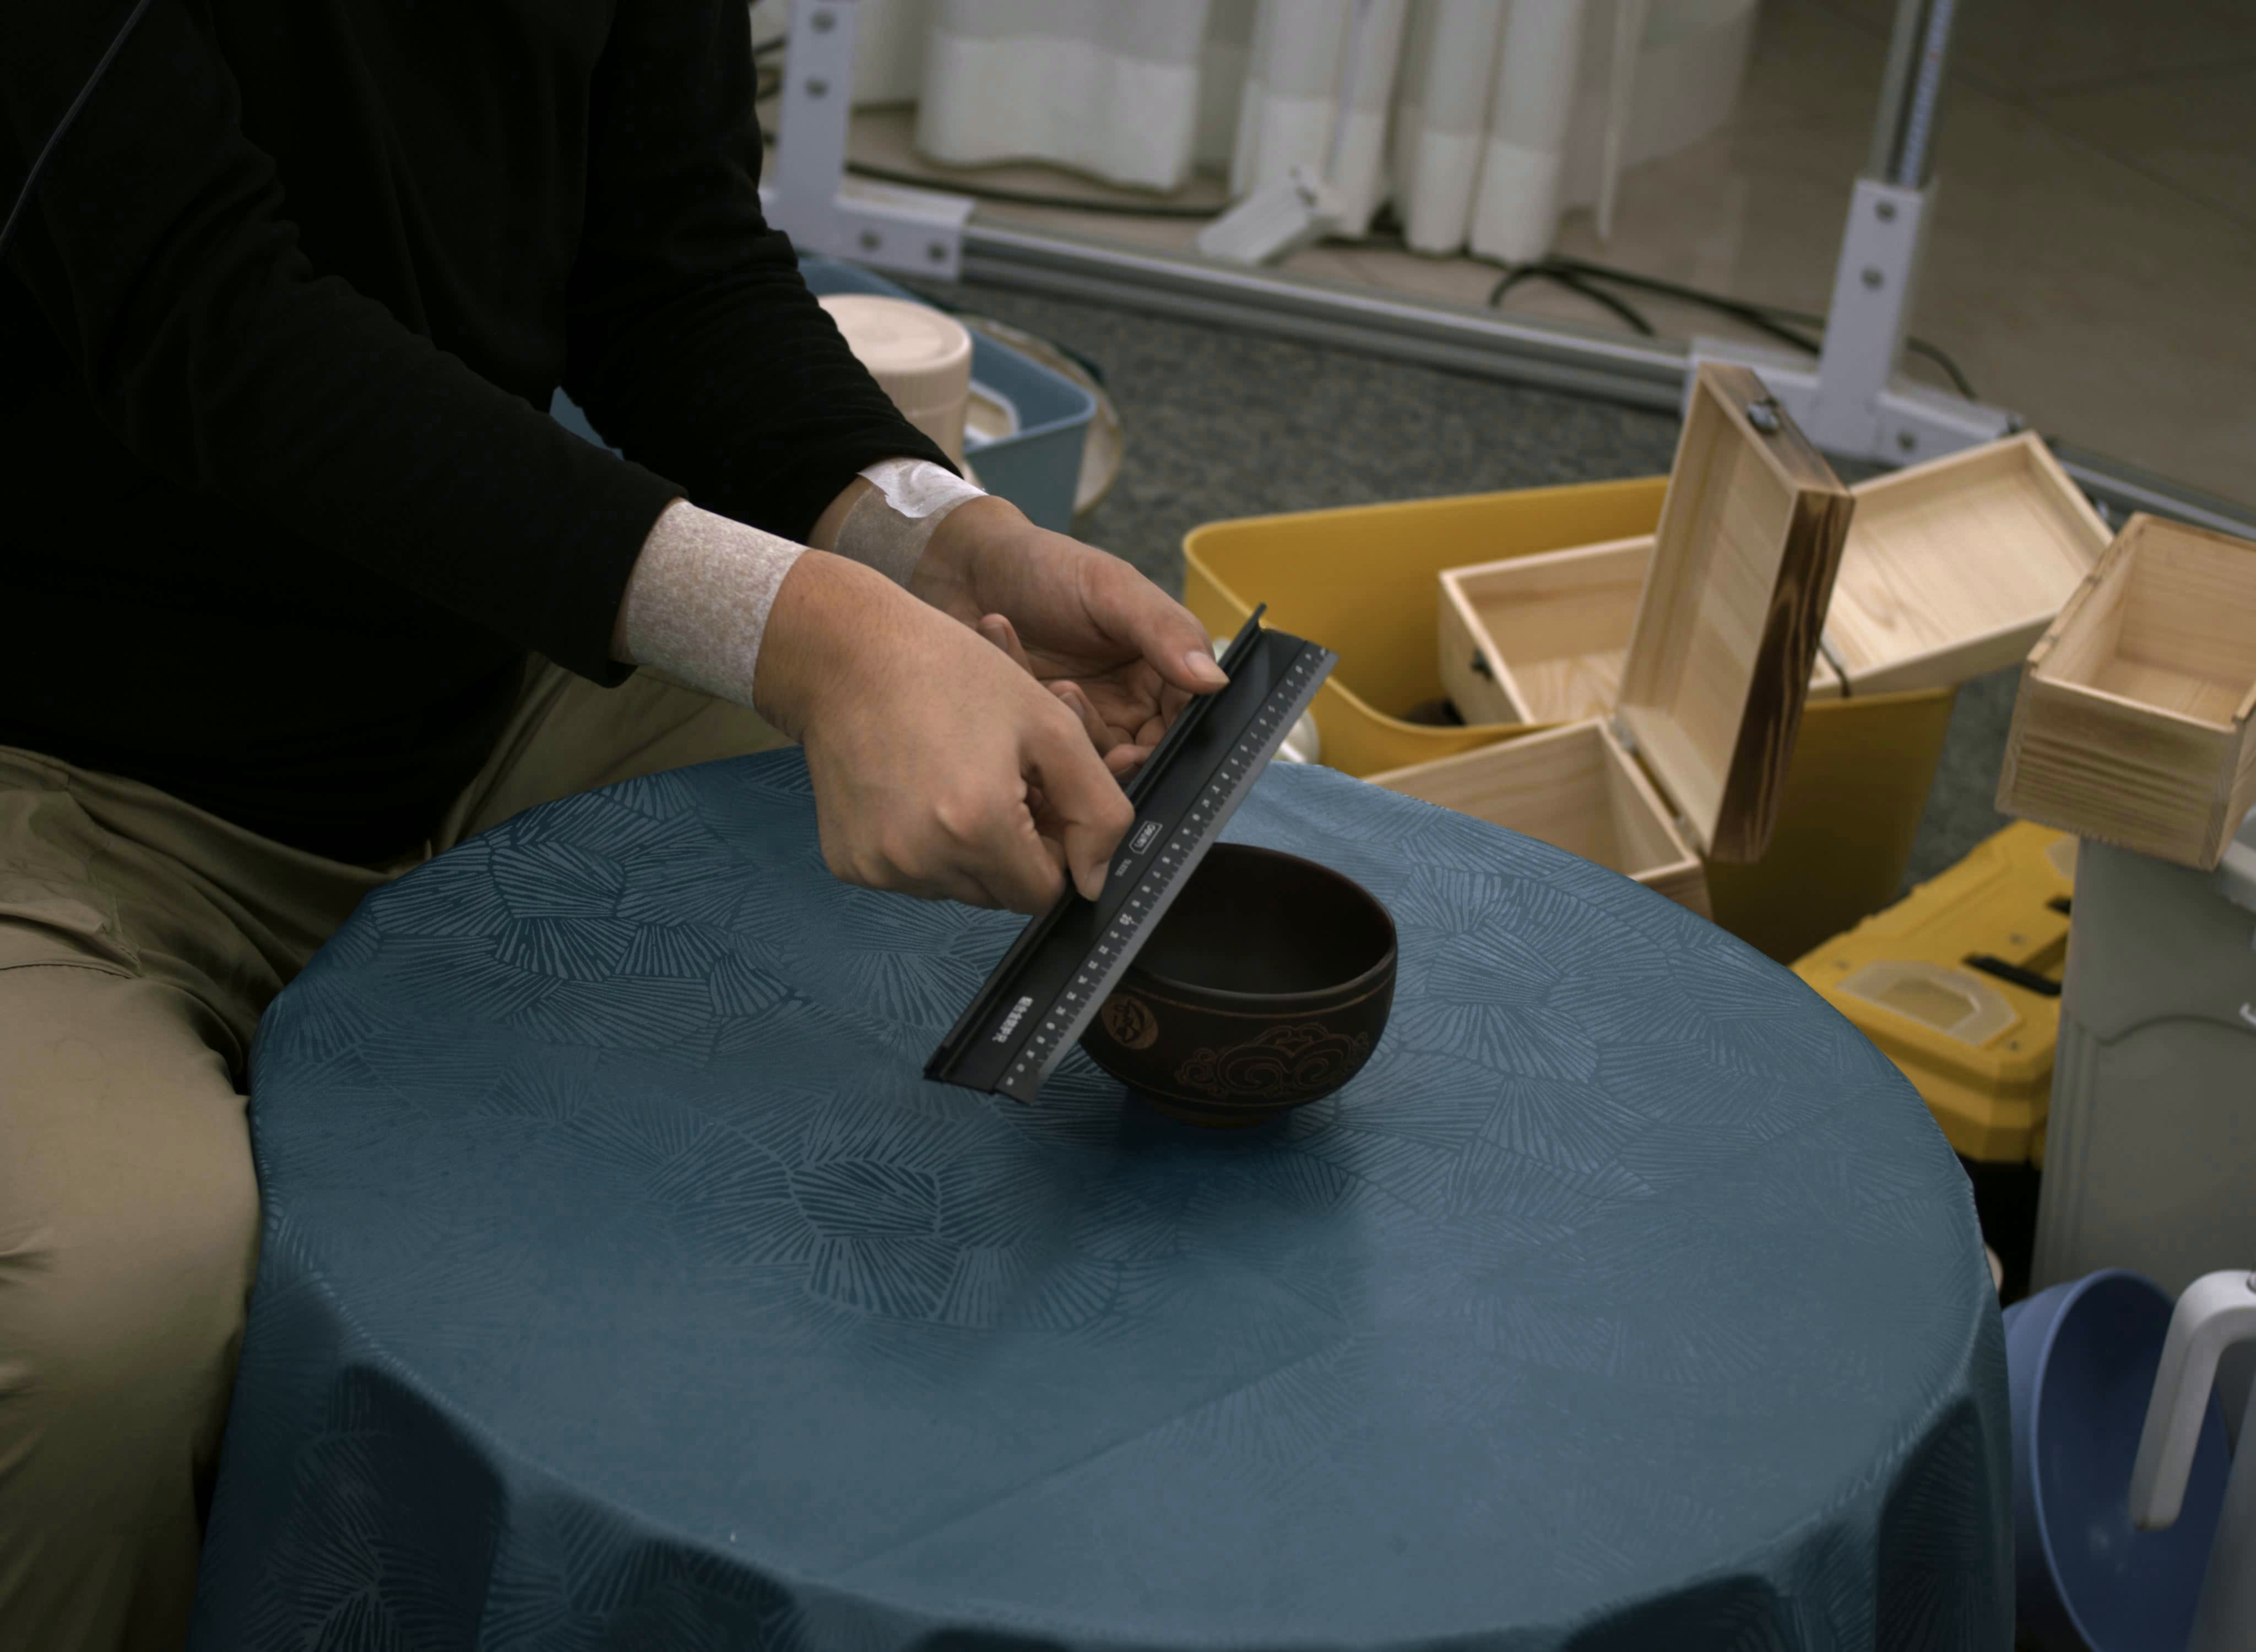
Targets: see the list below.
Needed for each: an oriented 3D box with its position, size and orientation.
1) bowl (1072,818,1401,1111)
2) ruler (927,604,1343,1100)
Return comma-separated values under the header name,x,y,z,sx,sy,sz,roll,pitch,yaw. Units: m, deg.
name,x,y,z,sx,sy,sz,roll,pitch,yaw
bowl,0.032,0.055,1.853,0.117,0.069,0.119,10,29,-6
ruler,0.007,0.003,1.828,0.039,0.017,0.313,14,34,16
